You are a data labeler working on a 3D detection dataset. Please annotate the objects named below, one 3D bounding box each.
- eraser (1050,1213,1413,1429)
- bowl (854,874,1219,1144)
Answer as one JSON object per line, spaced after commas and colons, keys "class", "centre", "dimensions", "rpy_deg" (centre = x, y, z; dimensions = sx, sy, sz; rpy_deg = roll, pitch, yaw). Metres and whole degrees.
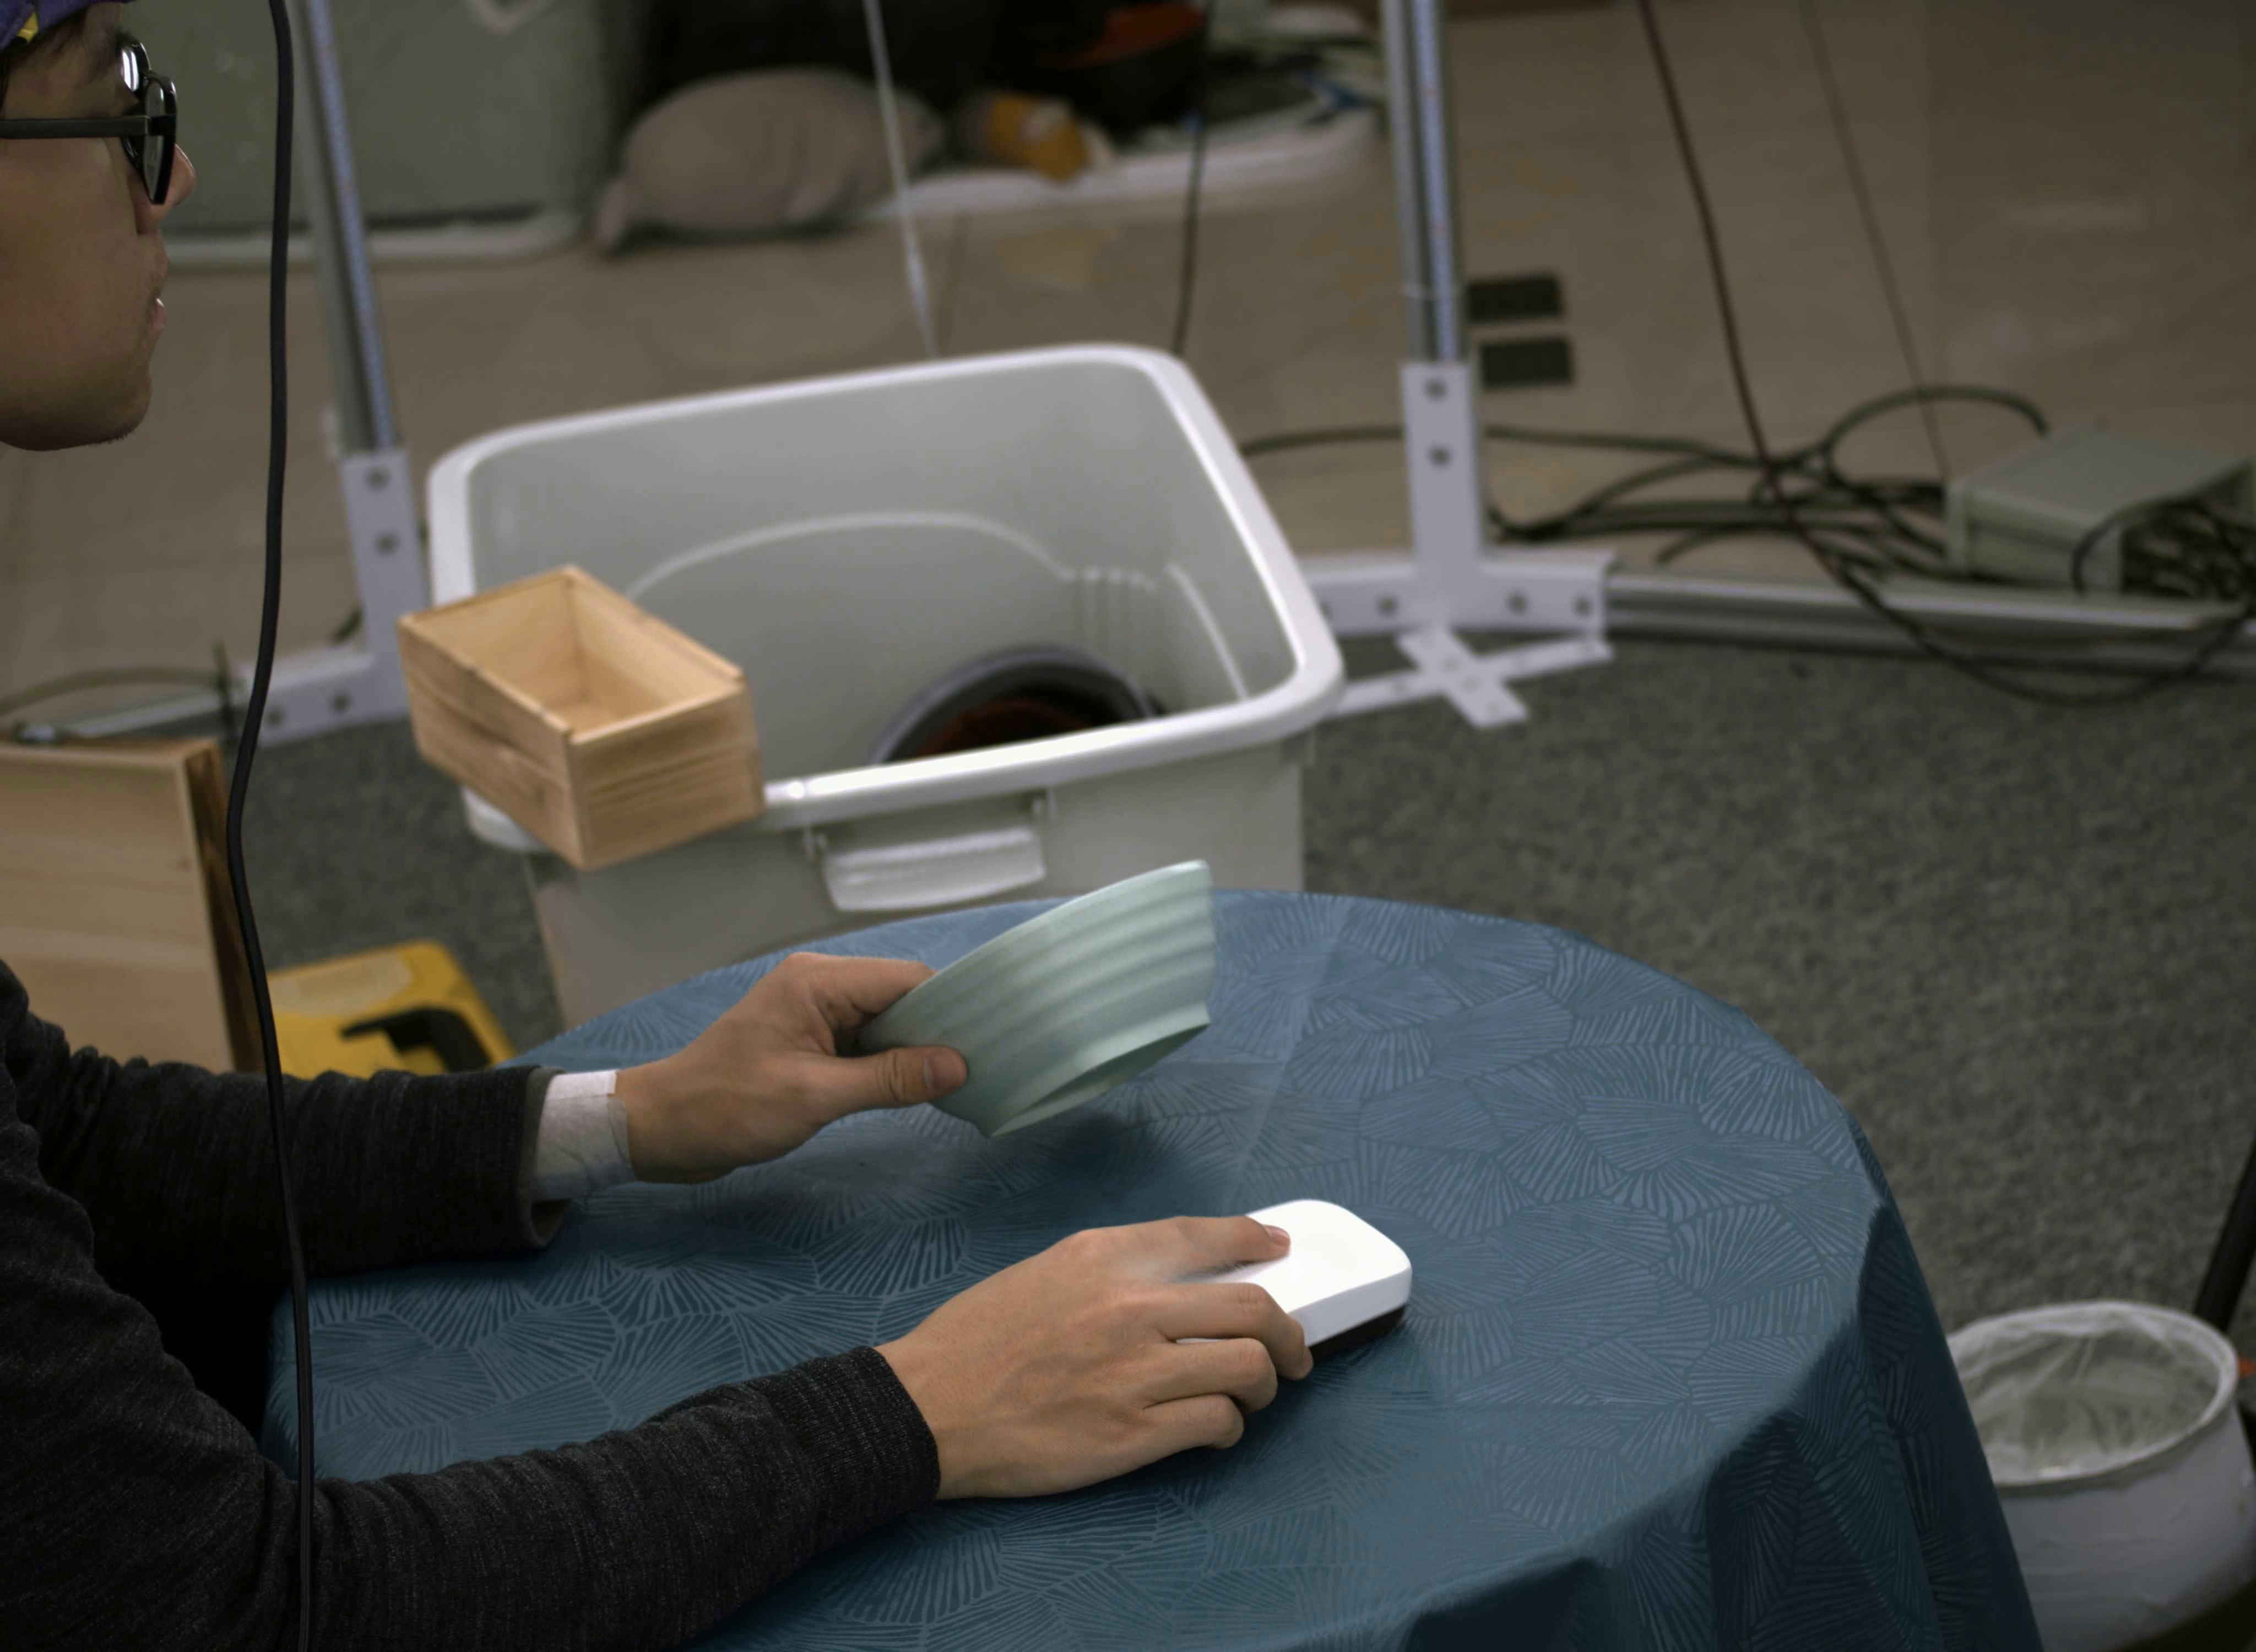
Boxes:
{"class": "eraser", "centre": [0.036, 0.172, 2.017], "dimensions": [0.130, 0.035, 0.062], "rpy_deg": [-17, 32, -31]}
{"class": "bowl", "centre": [-0.025, 0.075, 2.170], "dimensions": [0.151, 0.058, 0.152], "rpy_deg": [-25, -9, -4]}
